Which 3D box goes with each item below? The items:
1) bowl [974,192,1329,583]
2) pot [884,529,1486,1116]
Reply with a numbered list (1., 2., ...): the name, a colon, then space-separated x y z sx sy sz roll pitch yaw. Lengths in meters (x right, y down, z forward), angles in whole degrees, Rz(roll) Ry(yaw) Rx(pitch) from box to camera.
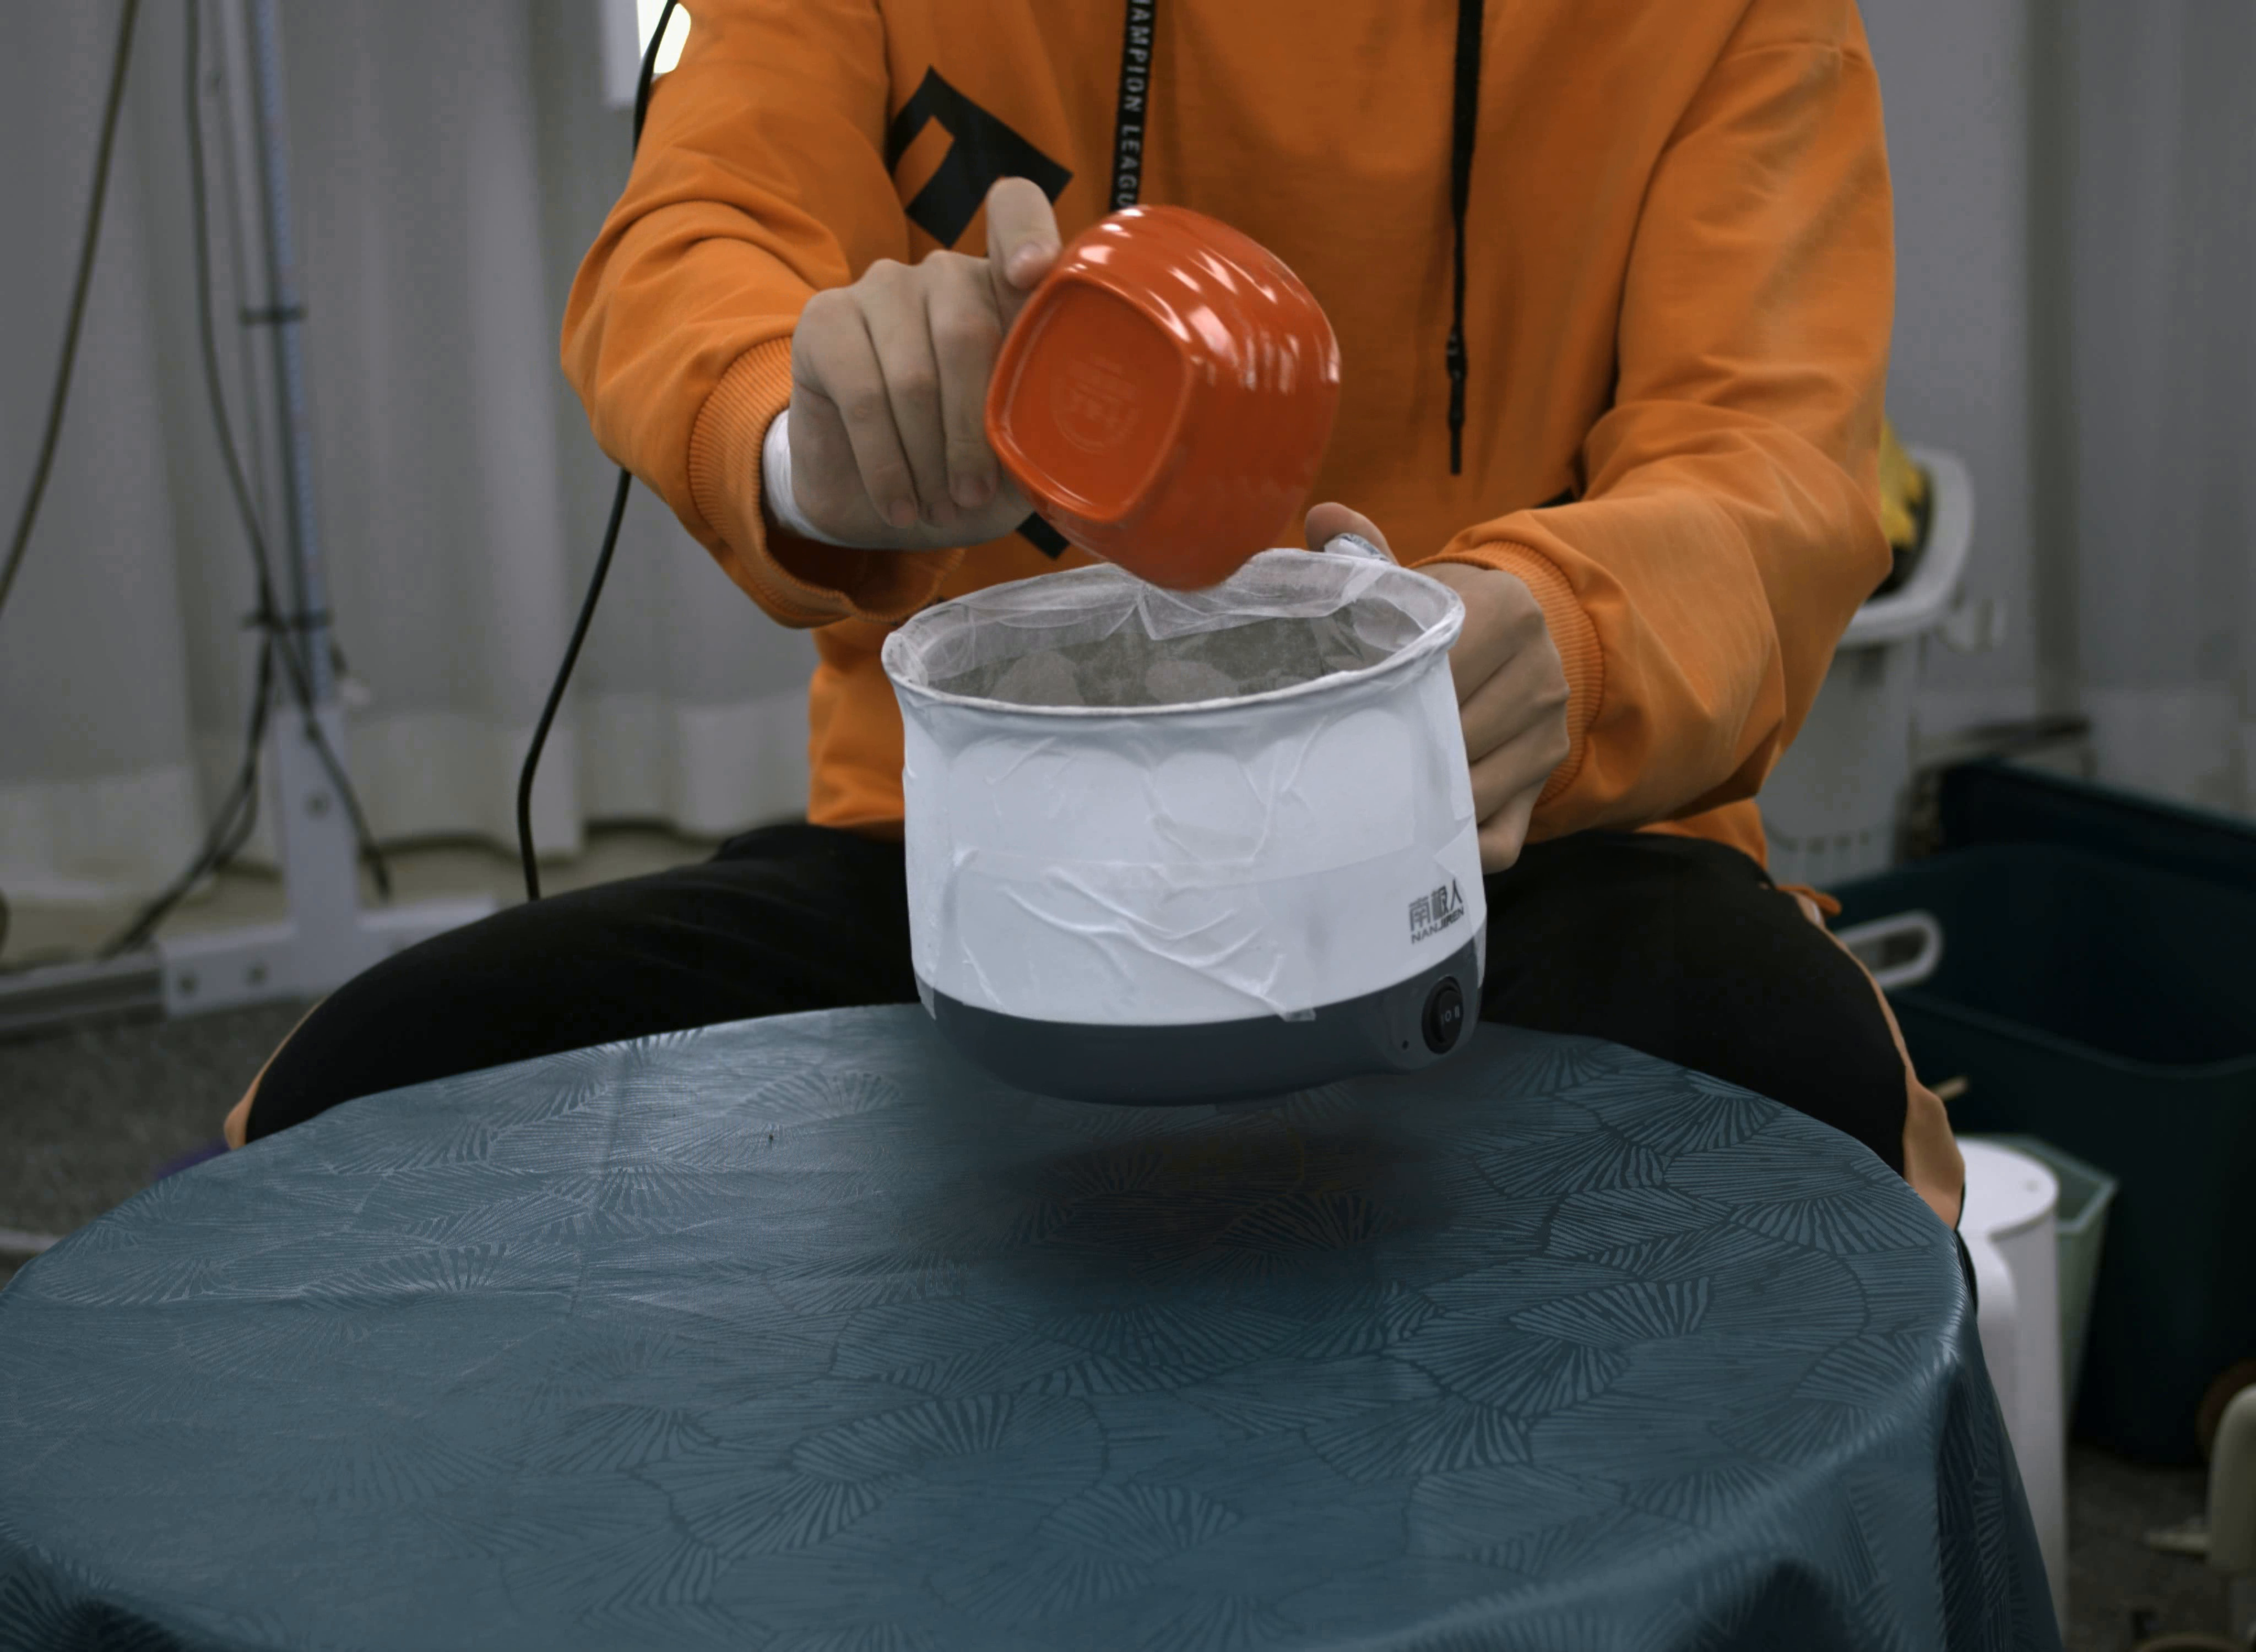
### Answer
1. bowl: -0.002 -0.130 1.632 0.119 0.119 0.051 8 8 36
2. pot: 0.034 -0.008 1.687 0.179 0.136 0.234 7 20 32
